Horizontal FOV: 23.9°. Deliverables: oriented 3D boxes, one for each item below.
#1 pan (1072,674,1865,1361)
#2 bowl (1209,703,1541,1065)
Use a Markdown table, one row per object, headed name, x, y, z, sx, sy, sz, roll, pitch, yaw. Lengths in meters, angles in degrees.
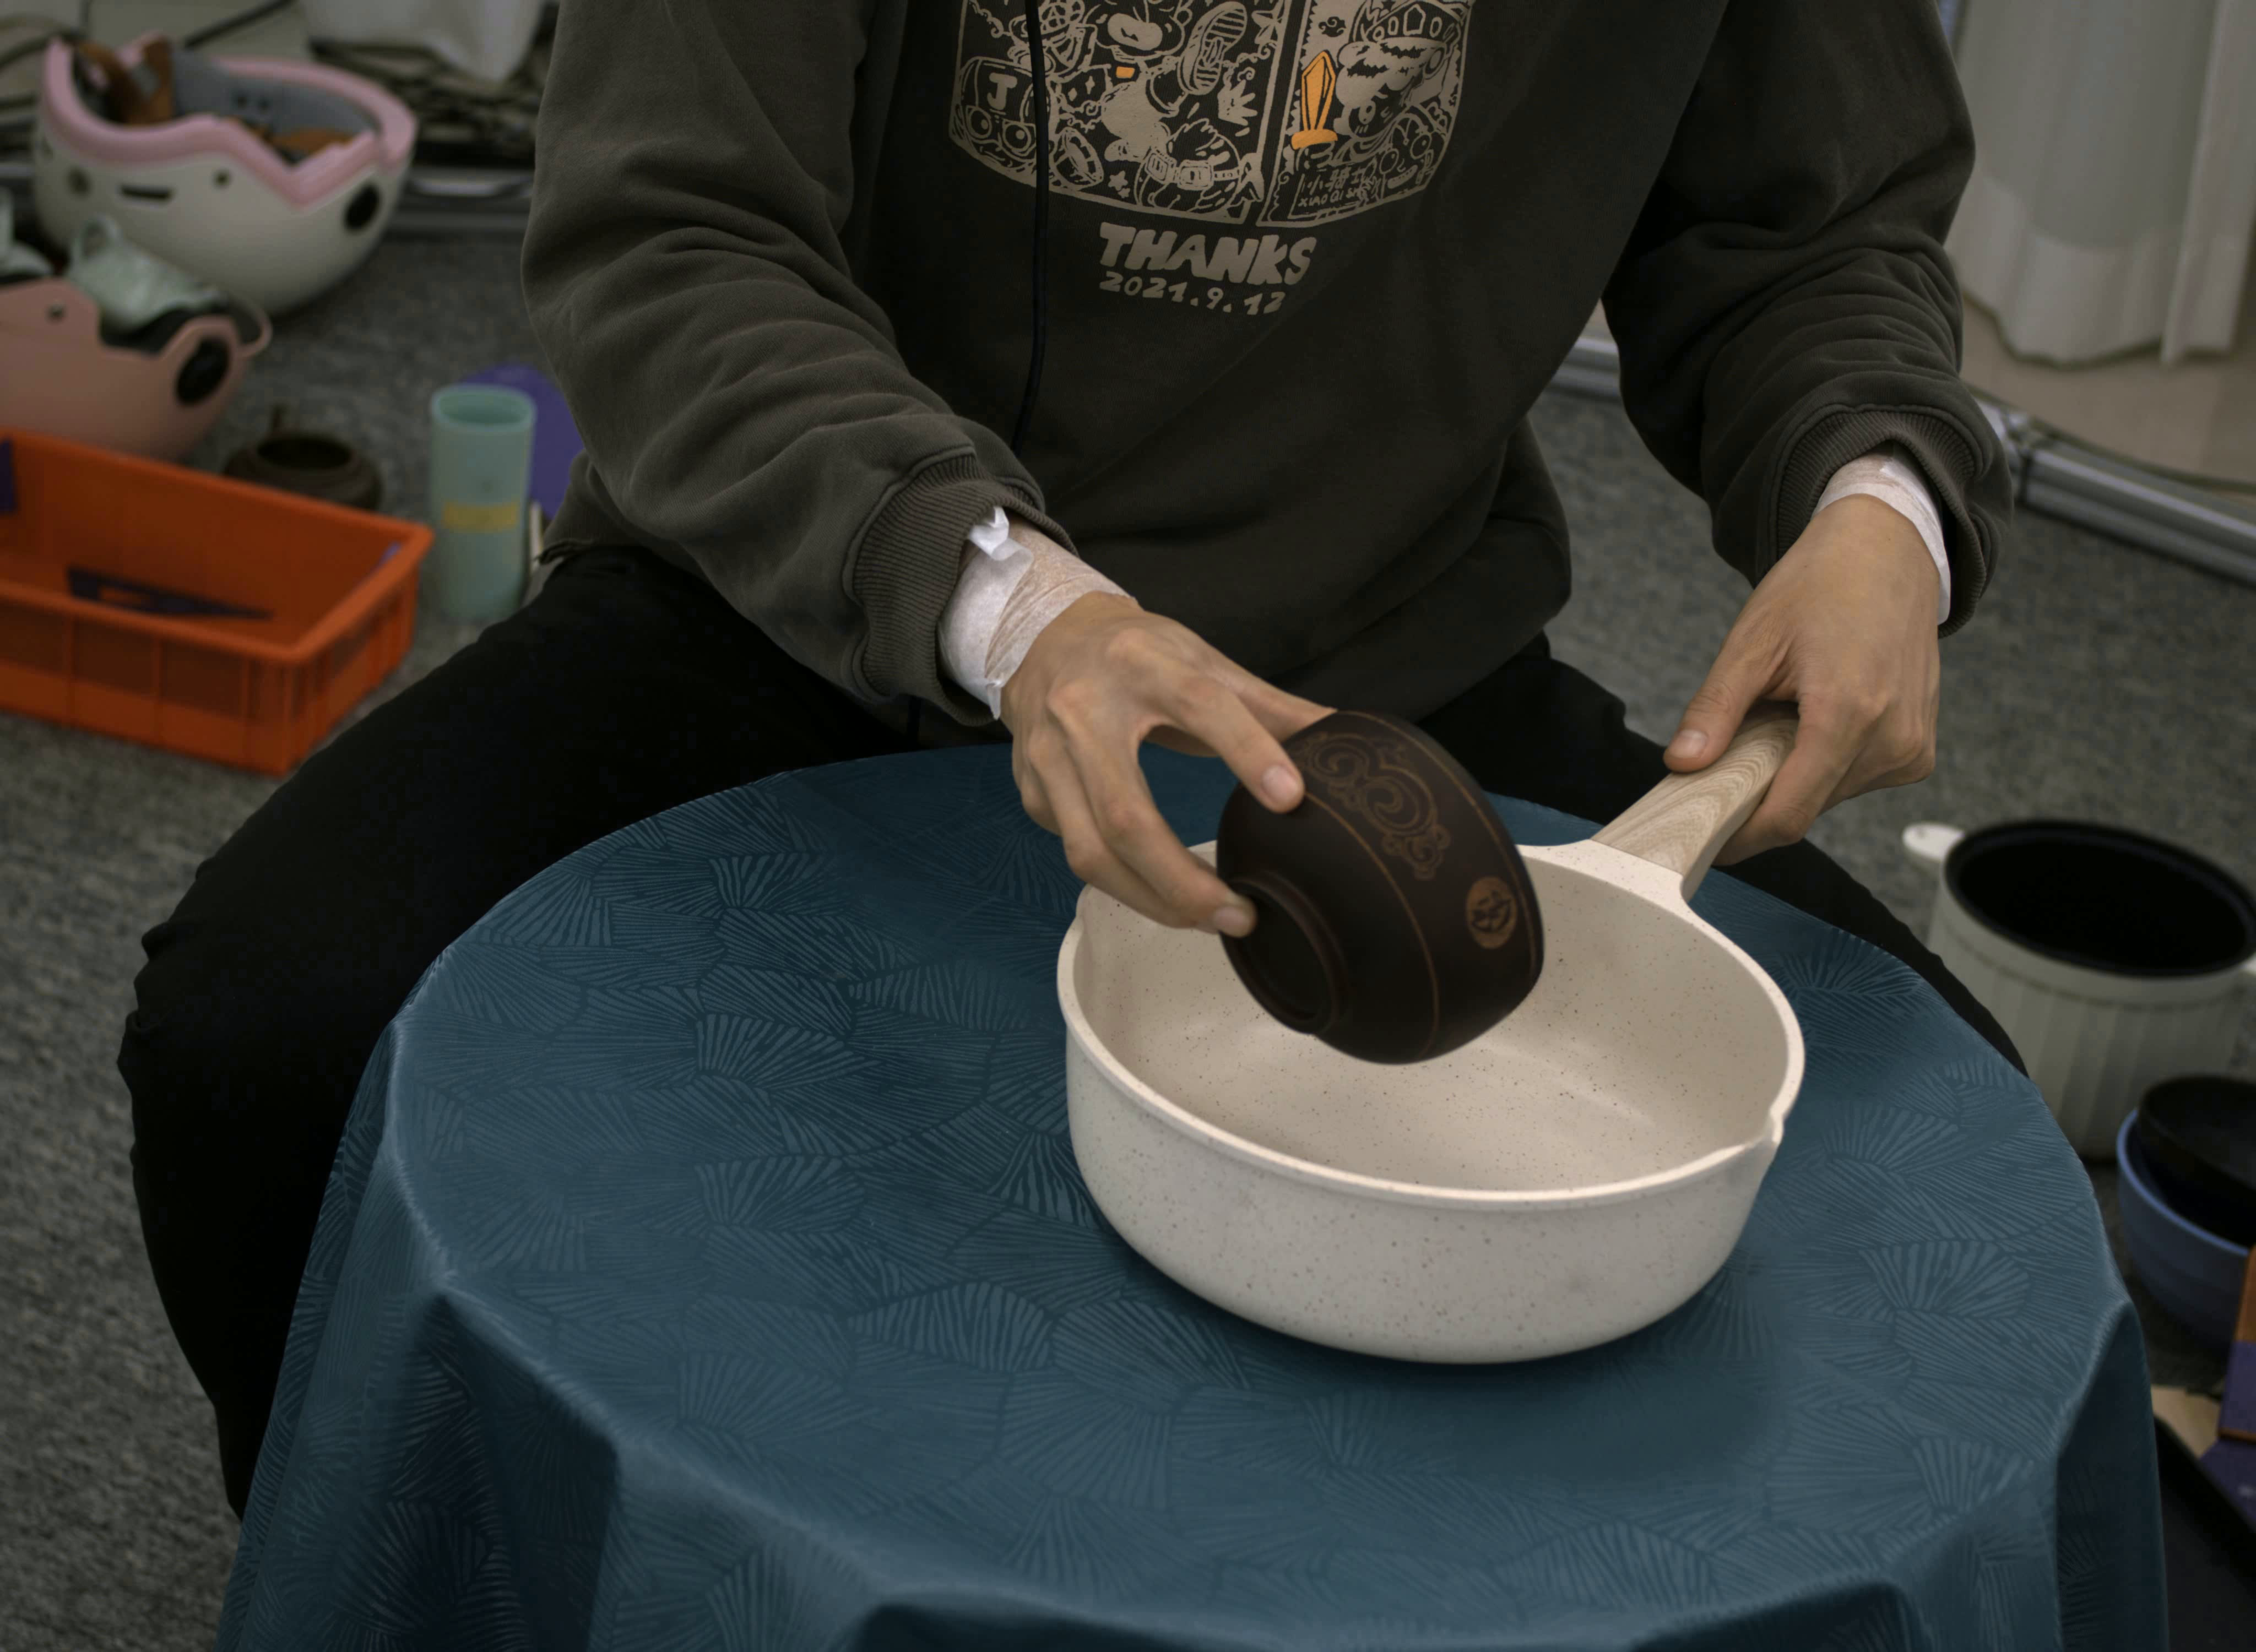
| name | x | y | z | sx | sy | sz | roll | pitch | yaw |
| --- | --- | --- | --- | --- | --- | --- | --- | --- | --- |
| pan | 0.152 | 0.059 | 1.858 | 0.265 | 0.101 | 0.434 | 19 | 29 | 27 |
| bowl | 0.071 | 0.026 | 1.733 | 0.069 | 0.117 | 0.119 | -31 | 43 | -28 |
